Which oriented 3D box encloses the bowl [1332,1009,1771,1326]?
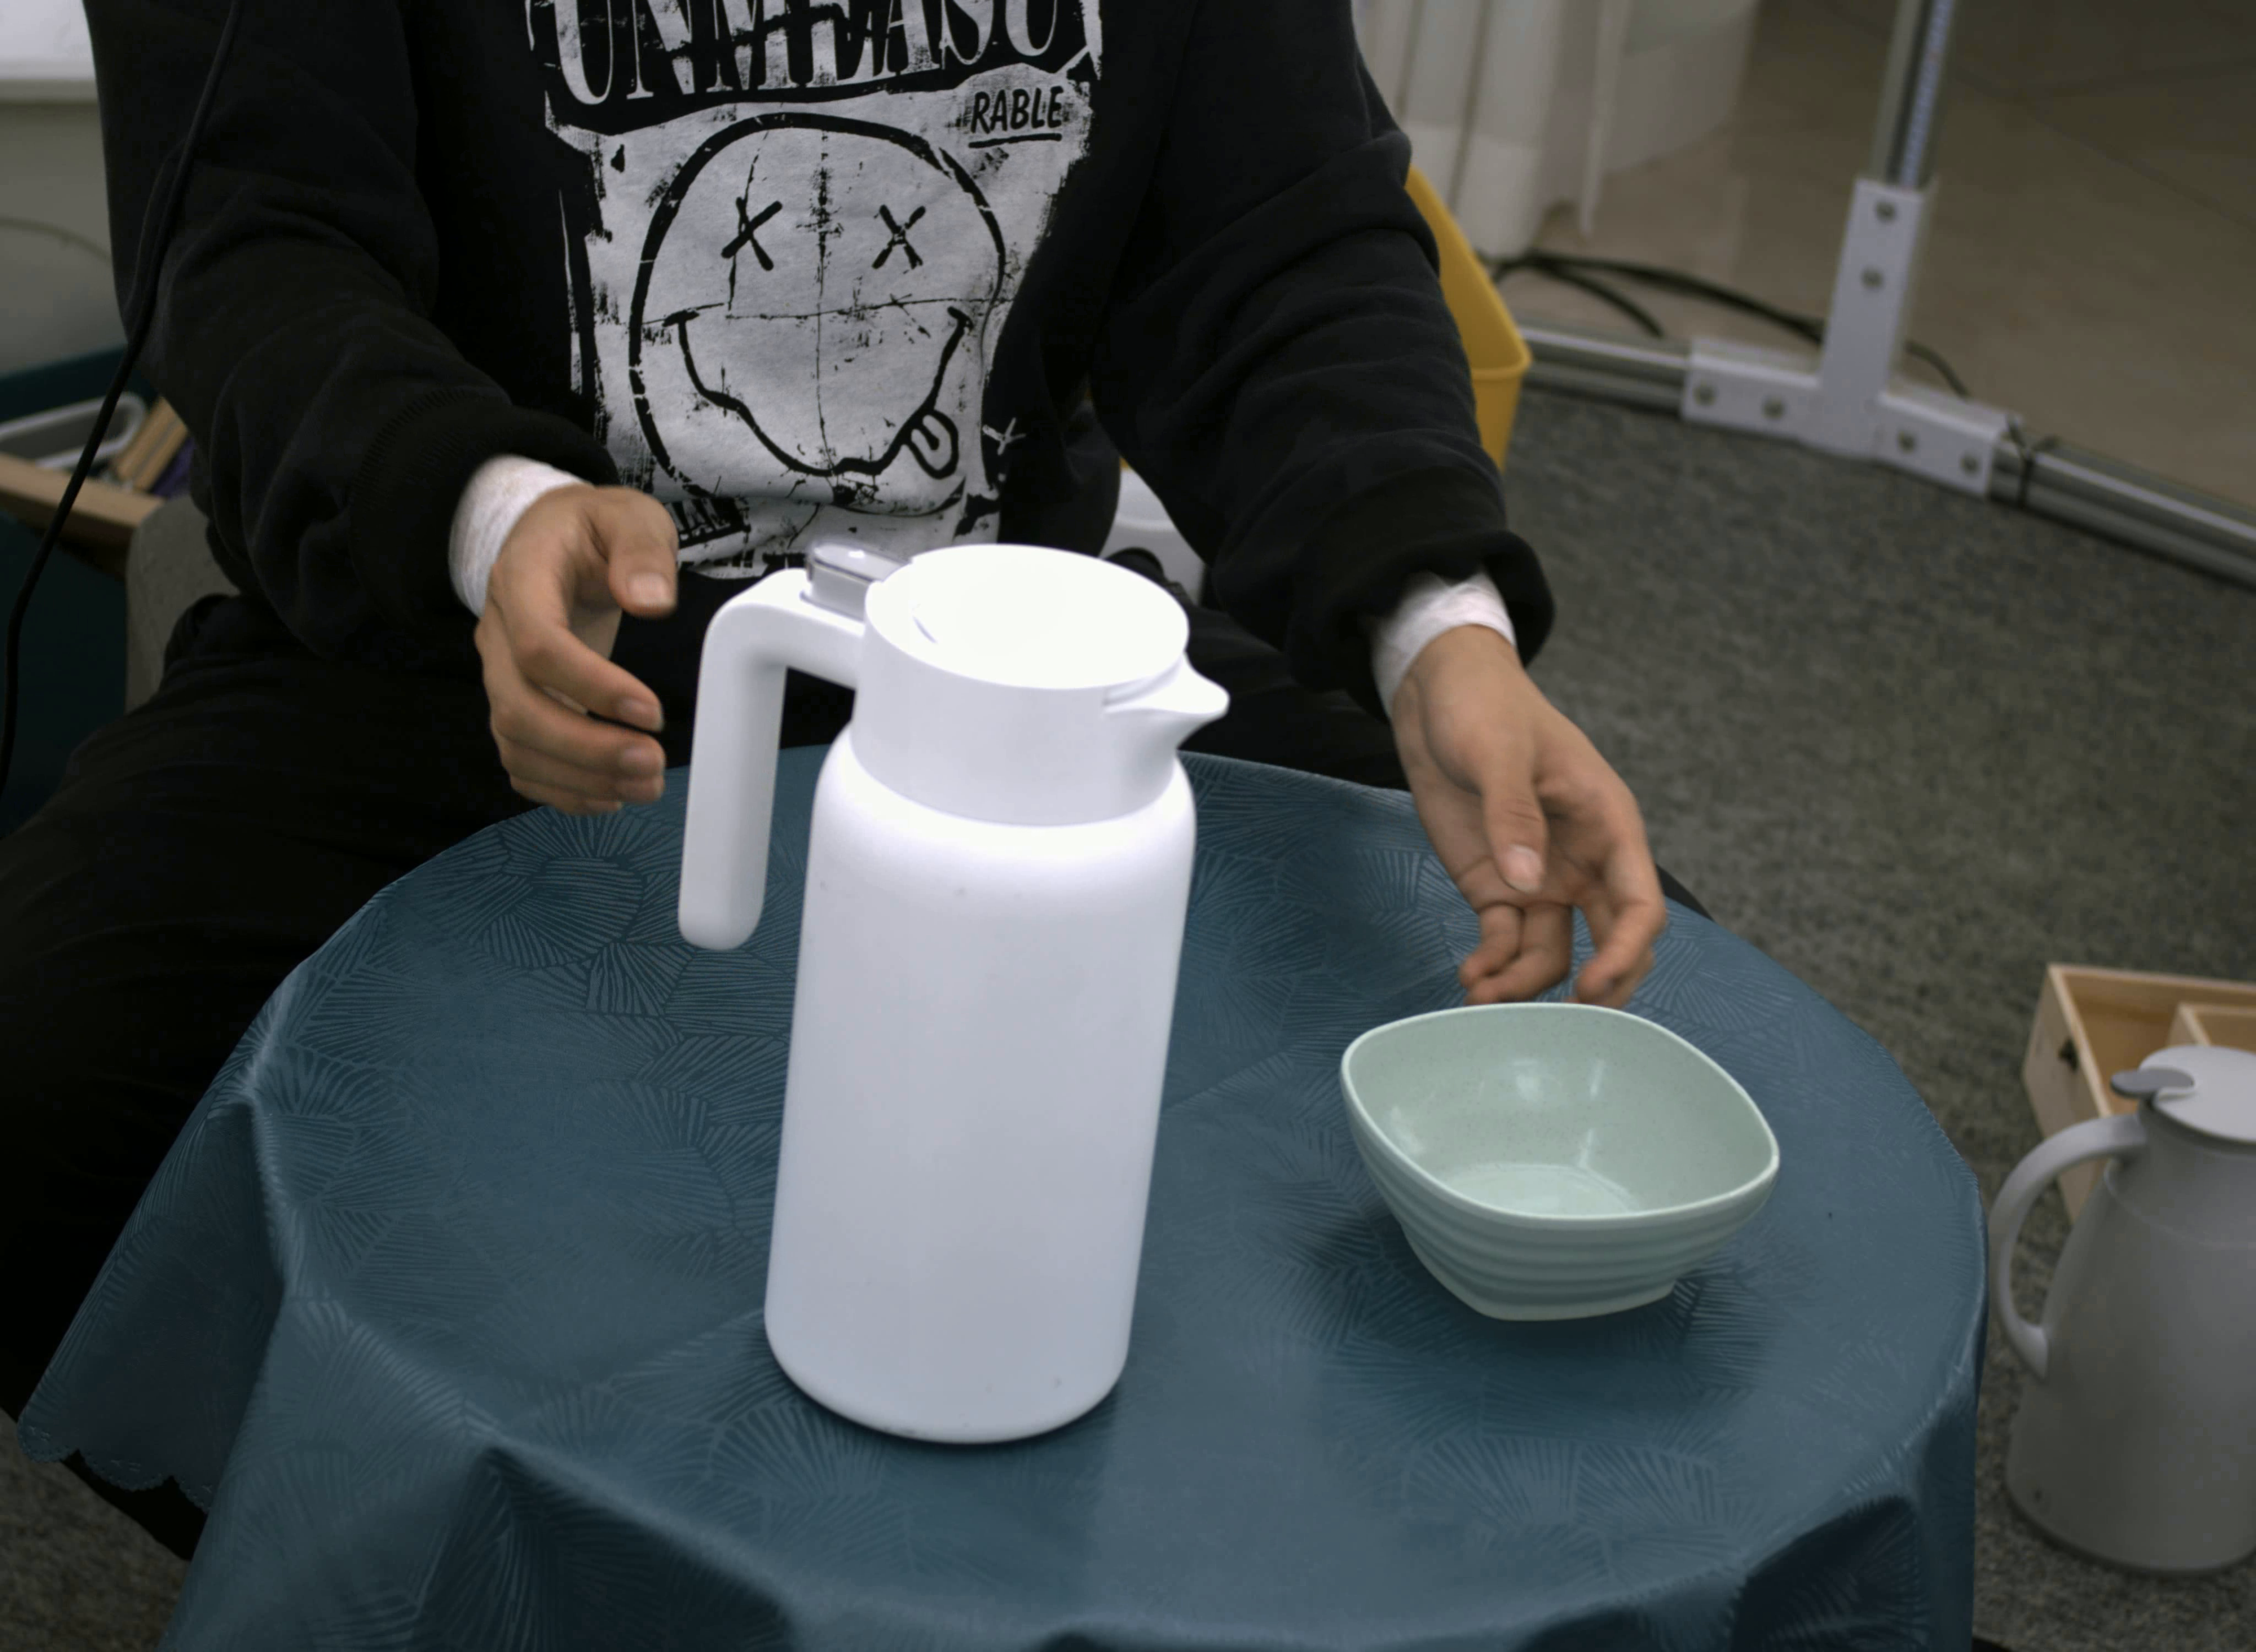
[{"bbox_3d":[0.138,0.121,1.785,0.151,0.058,0.152,5,26,-3],"label":"bowl"}]

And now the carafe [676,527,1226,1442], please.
[{"bbox_3d":[-0.061,0.047,1.650,0.173,0.268,0.124,18,31,22],"label":"carafe"}]
